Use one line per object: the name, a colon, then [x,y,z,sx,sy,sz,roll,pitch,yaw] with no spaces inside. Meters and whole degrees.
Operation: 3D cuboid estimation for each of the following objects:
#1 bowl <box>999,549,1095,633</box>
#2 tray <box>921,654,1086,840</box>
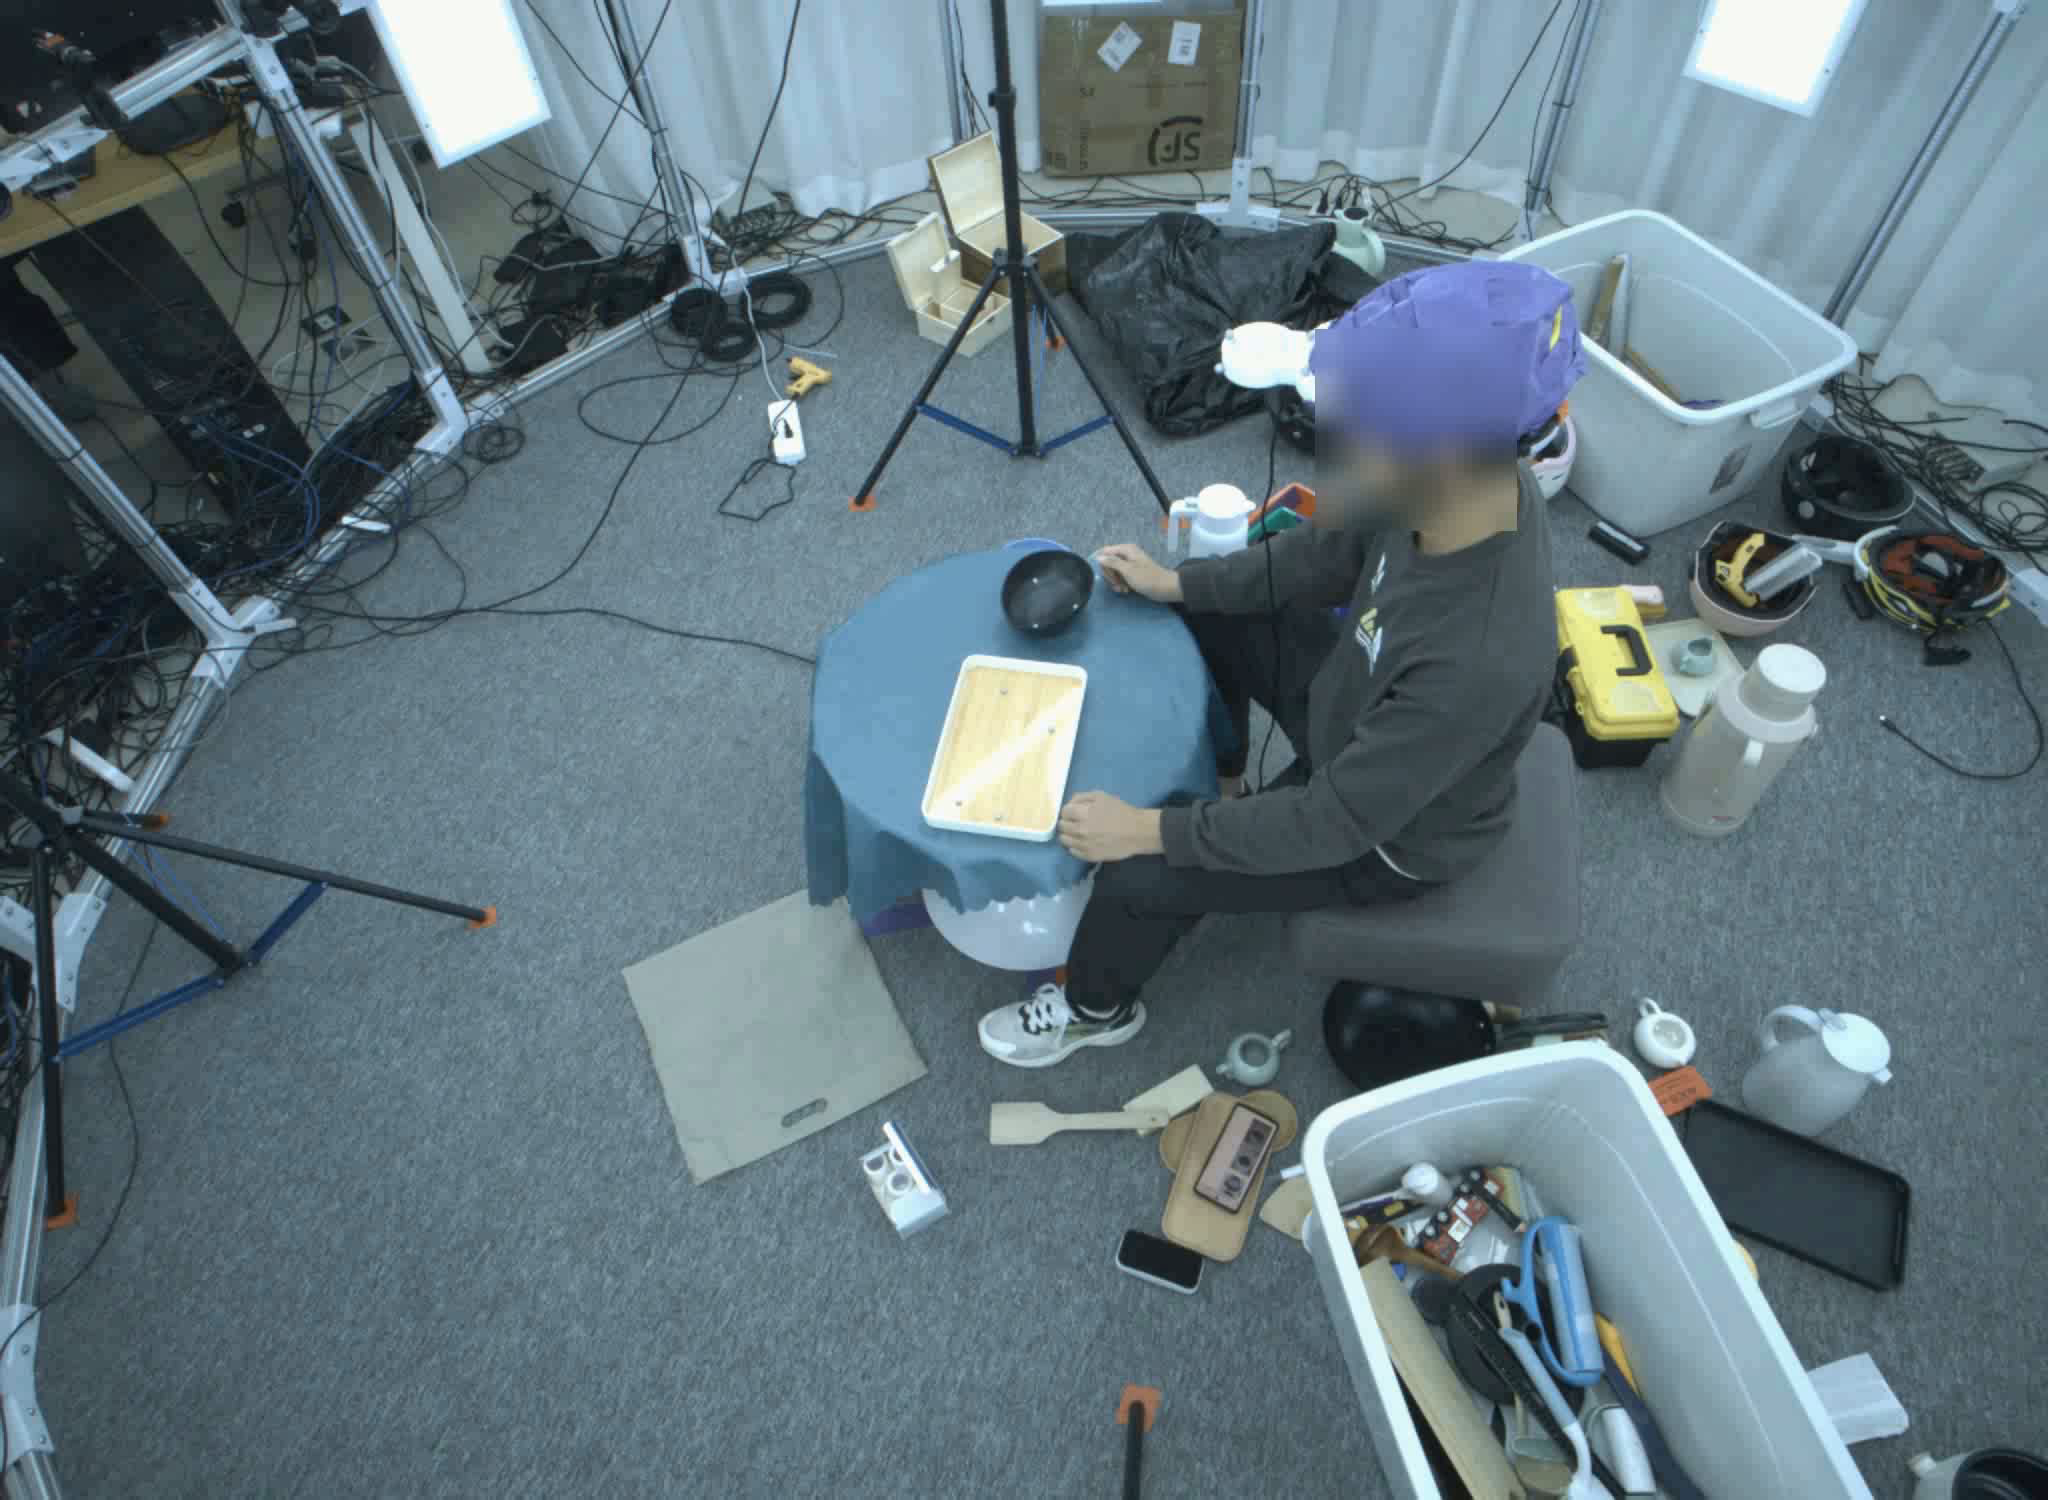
bowl: [0.037,-0.236,1.915,0.135,0.067,0.171,26,61,20]
tray: [-0.025,-0.010,1.777,0.190,0.028,0.298,8,55,7]
